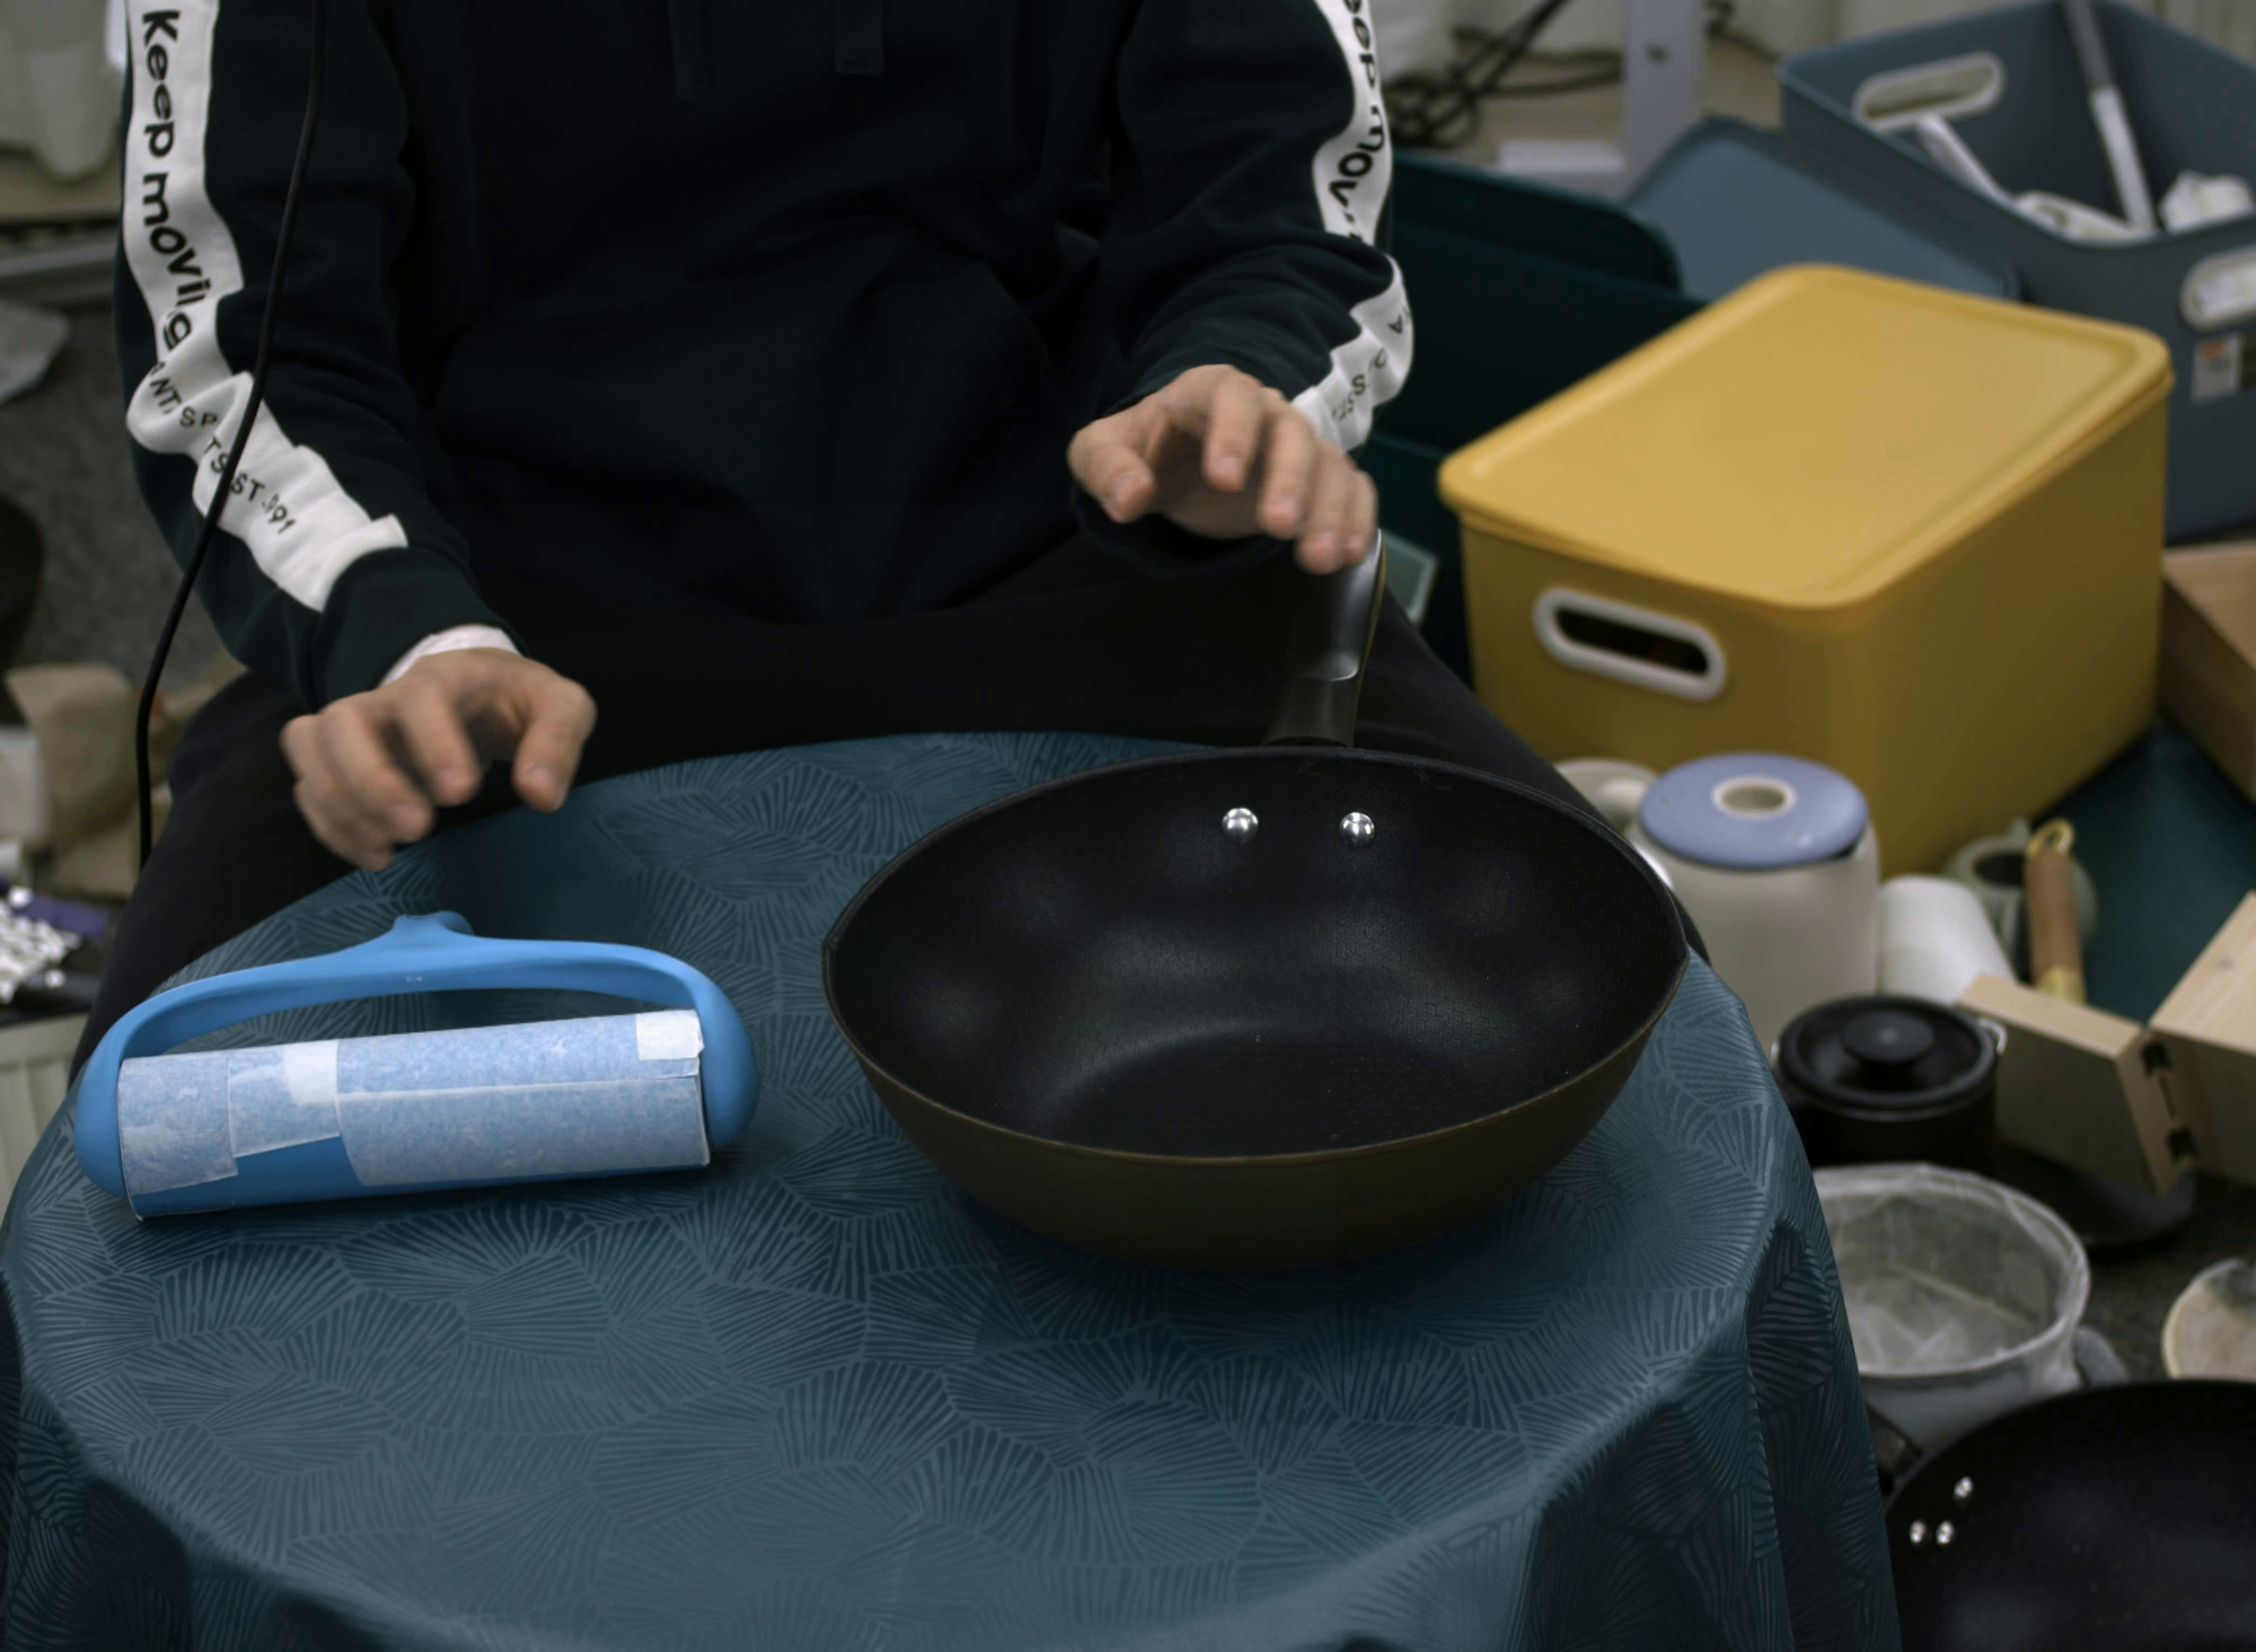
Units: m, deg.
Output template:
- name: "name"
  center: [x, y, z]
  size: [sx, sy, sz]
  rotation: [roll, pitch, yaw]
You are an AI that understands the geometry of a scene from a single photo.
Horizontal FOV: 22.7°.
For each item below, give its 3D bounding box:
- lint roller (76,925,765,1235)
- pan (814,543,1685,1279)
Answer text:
- name: "lint roller"
  center: [-0.244, 0.070, 1.924]
  size: [0.228, 0.067, 0.182]
  rotation: [-8, 29, -6]
- name: "pan"
  center: [0.054, 0.031, 1.942]
  size: [0.286, 0.086, 0.471]
  rotation: [2, 27, 8]
